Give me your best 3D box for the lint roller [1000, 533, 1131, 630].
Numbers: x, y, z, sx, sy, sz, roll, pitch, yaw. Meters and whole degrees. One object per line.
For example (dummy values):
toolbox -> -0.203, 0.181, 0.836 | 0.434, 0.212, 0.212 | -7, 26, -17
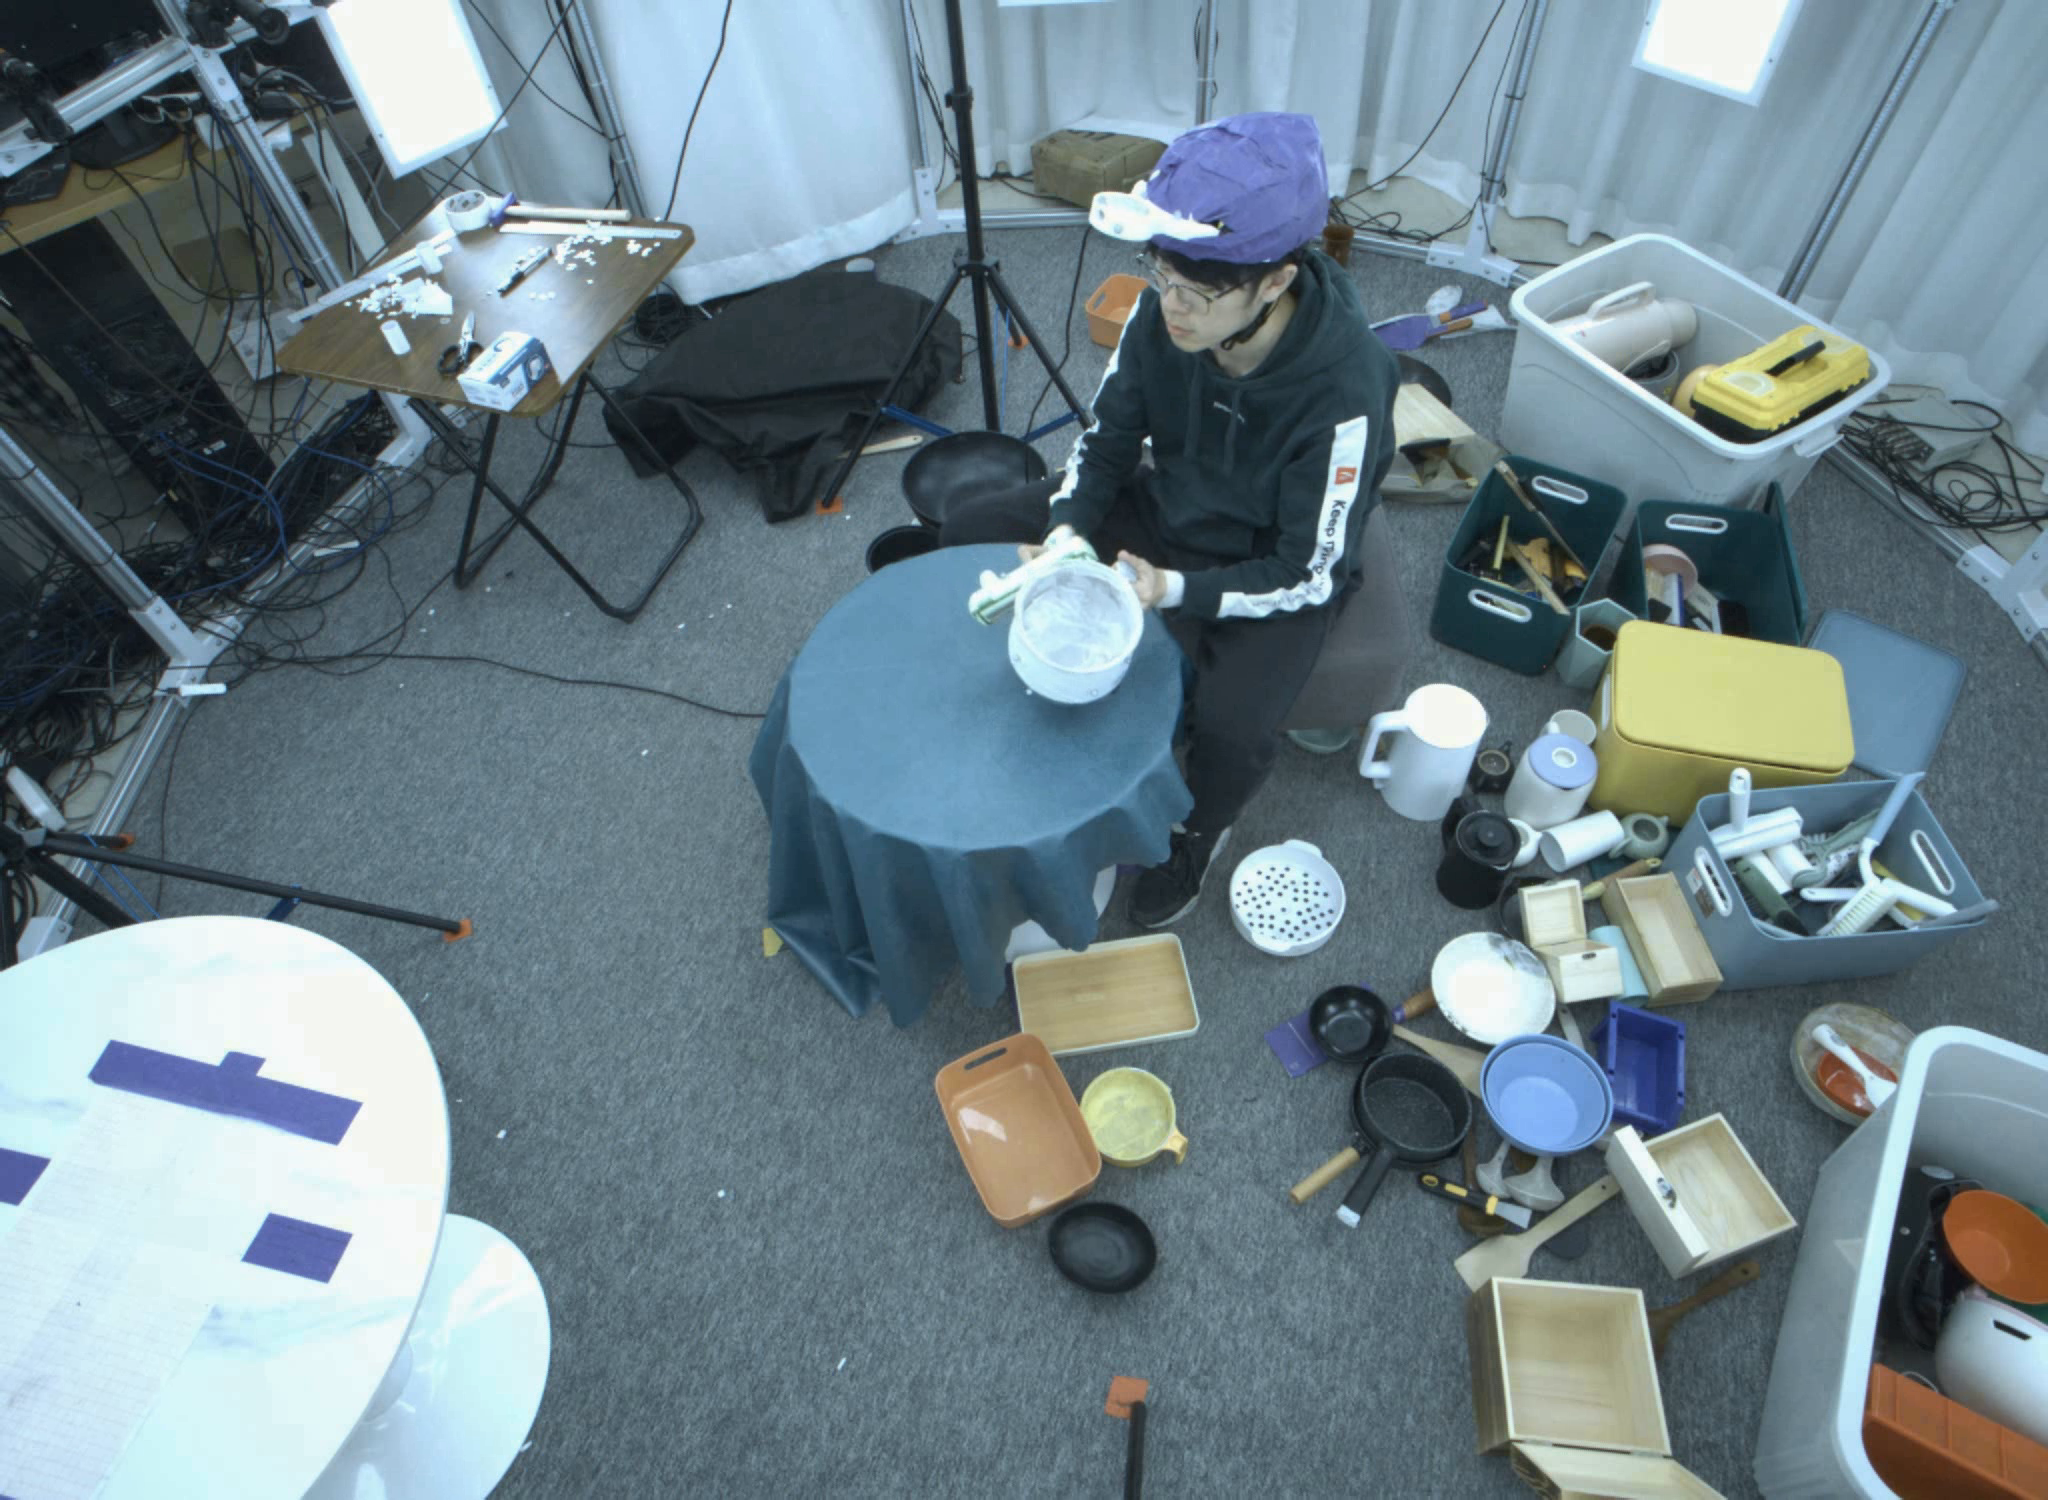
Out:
lint roller -> 0.064, -0.265, 1.823 | 0.197, 0.083, 0.183 | -27, 13, 18

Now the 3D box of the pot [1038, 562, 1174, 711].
pot -> 0.128, -0.171, 1.723 | 0.177, 0.137, 0.235 | 40, 70, 8
